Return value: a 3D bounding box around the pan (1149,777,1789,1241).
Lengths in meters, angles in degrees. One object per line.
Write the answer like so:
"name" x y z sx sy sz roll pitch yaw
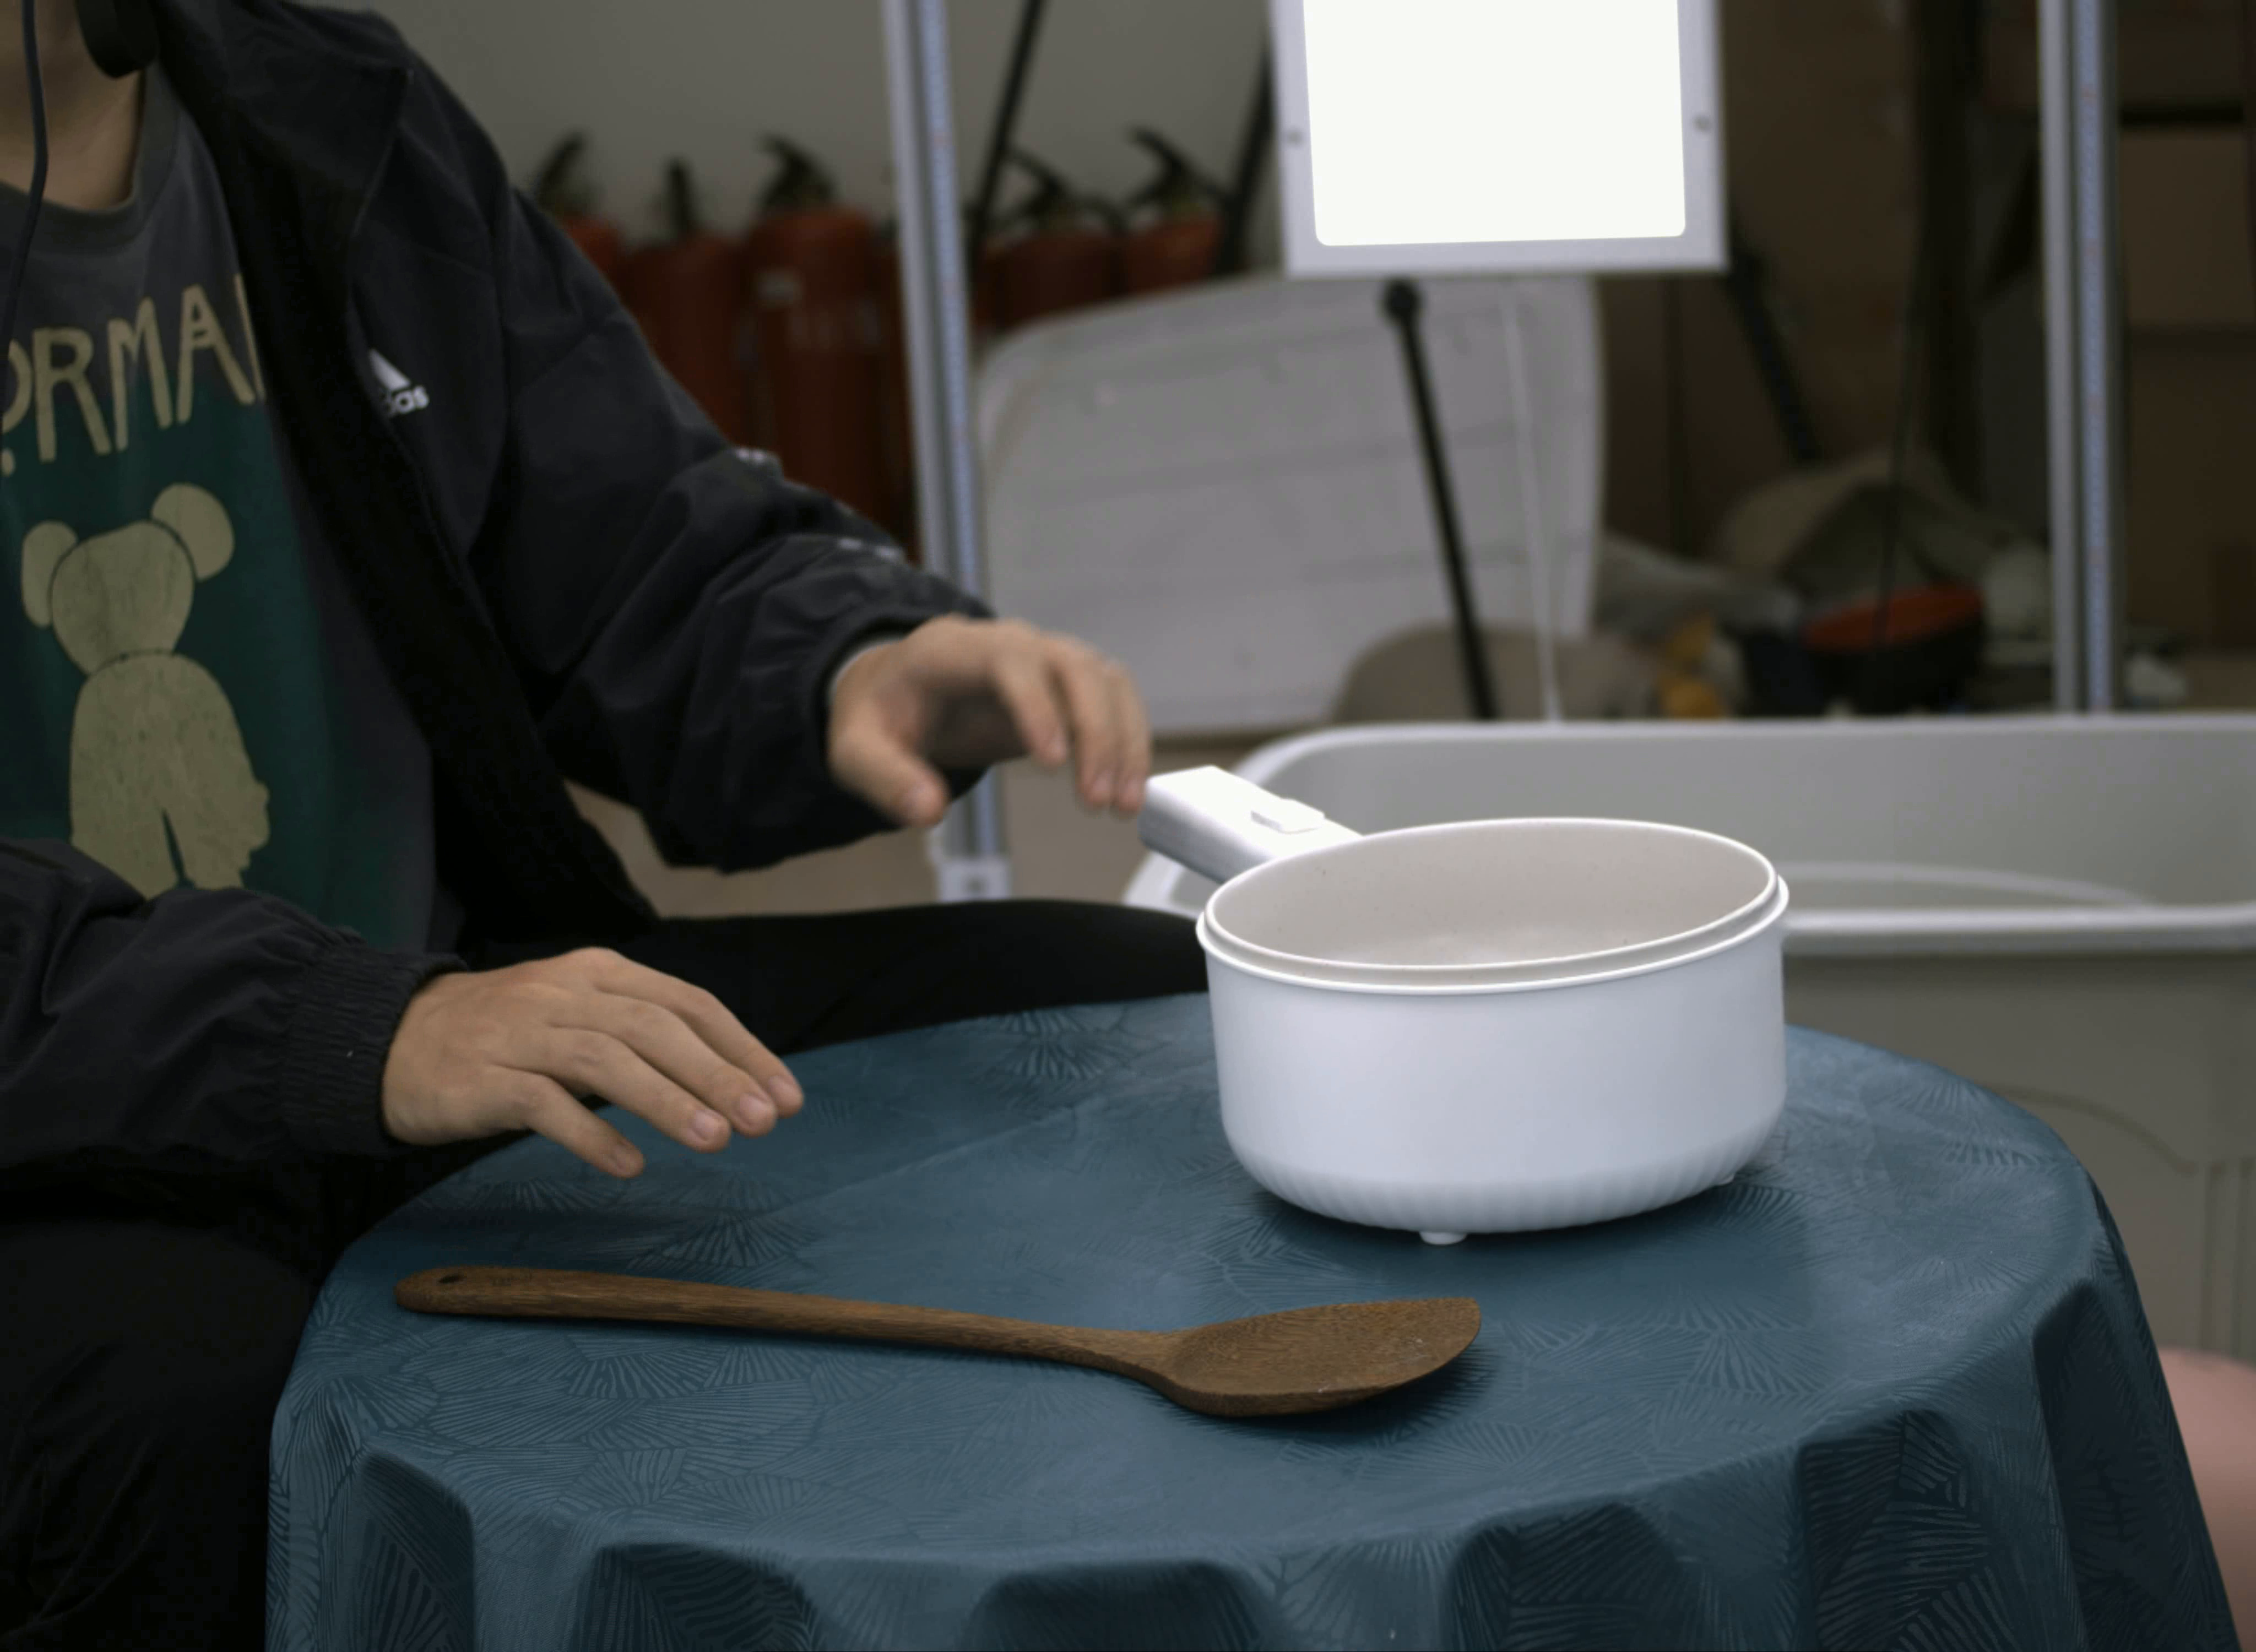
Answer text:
"pan" 0.096 0.057 1.940 0.197 0.102 0.360 -11 13 -21

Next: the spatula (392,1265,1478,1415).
"spatula" -0.073 0.159 1.761 0.393 0.016 0.094 2 15 28
